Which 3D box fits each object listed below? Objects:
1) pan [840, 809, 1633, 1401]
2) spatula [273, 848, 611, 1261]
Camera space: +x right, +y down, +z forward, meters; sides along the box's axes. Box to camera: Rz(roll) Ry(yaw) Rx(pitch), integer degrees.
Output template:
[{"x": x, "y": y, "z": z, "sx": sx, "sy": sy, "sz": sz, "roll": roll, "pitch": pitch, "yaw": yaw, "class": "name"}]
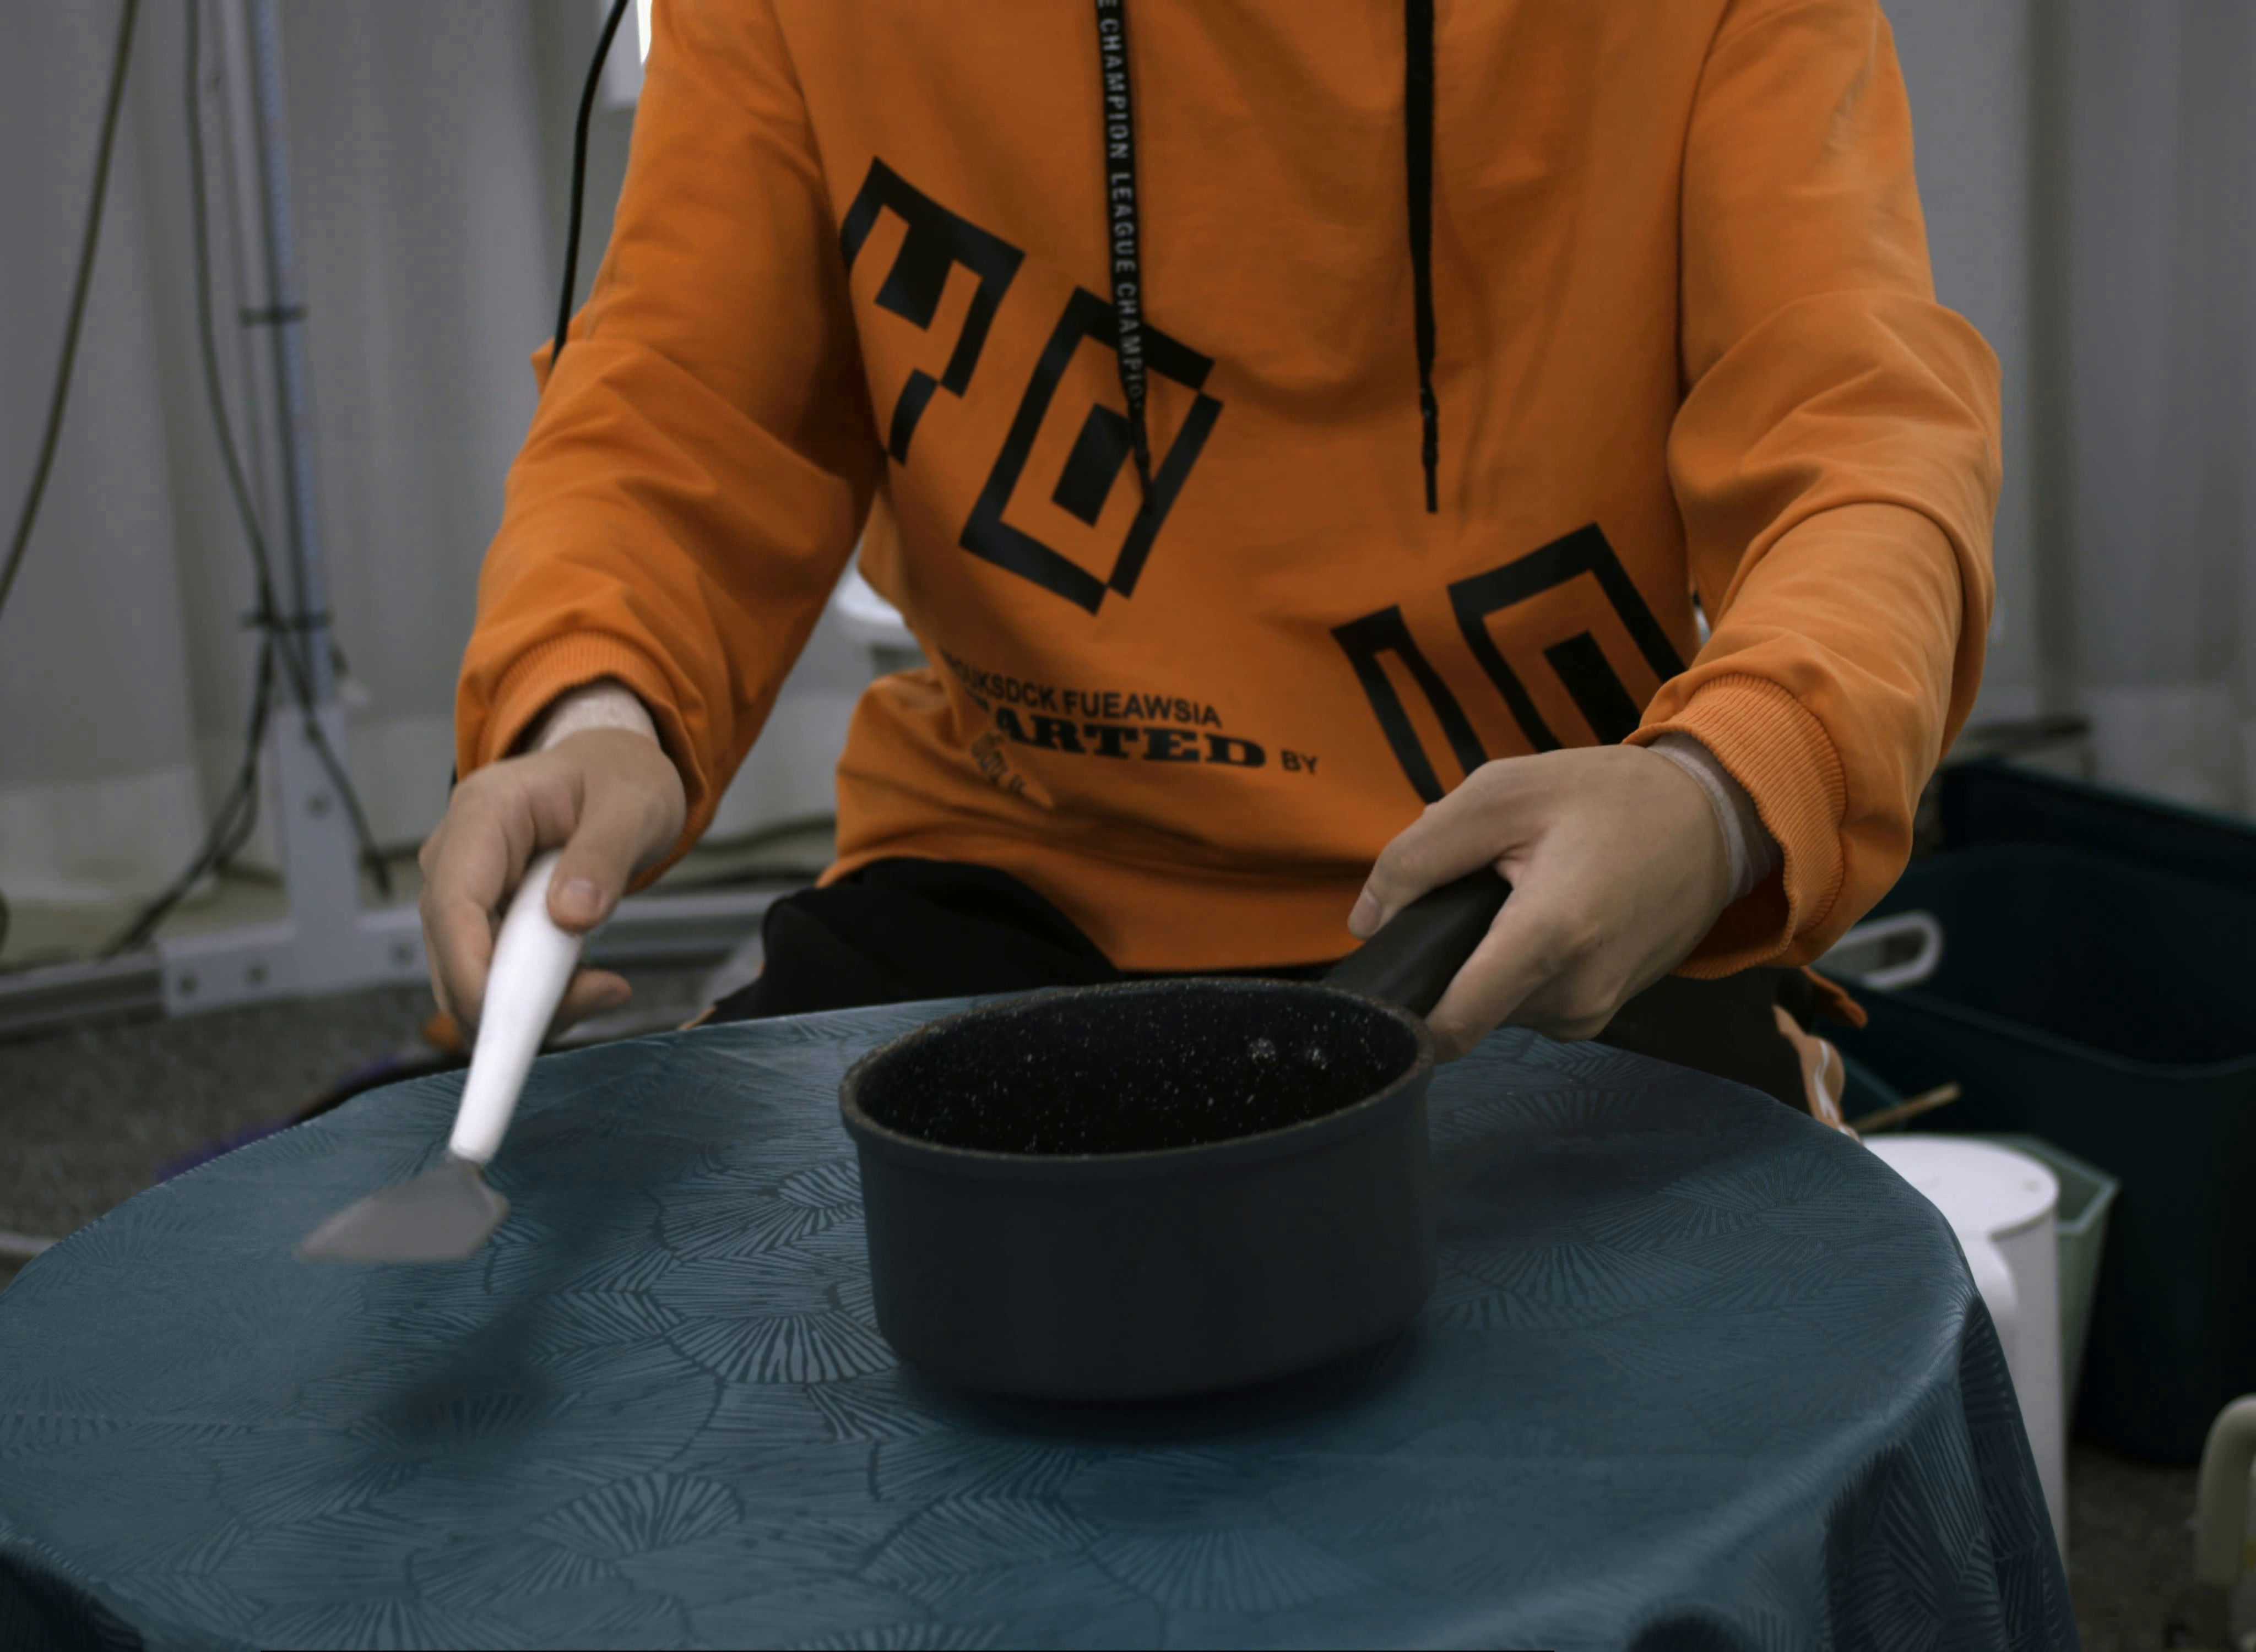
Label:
[{"x": 0.052, "y": 0.079, "z": 1.624, "sx": 0.172, "sy": 0.086, "sz": 0.329, "roll": 7, "pitch": 20, "yaw": 36, "class": "pan"}, {"x": -0.197, "y": 0.074, "z": 1.653, "sx": 0.058, "sy": 0.032, "sz": 0.290, "roll": 5, "pitch": 22, "yaw": 4, "class": "spatula"}]
